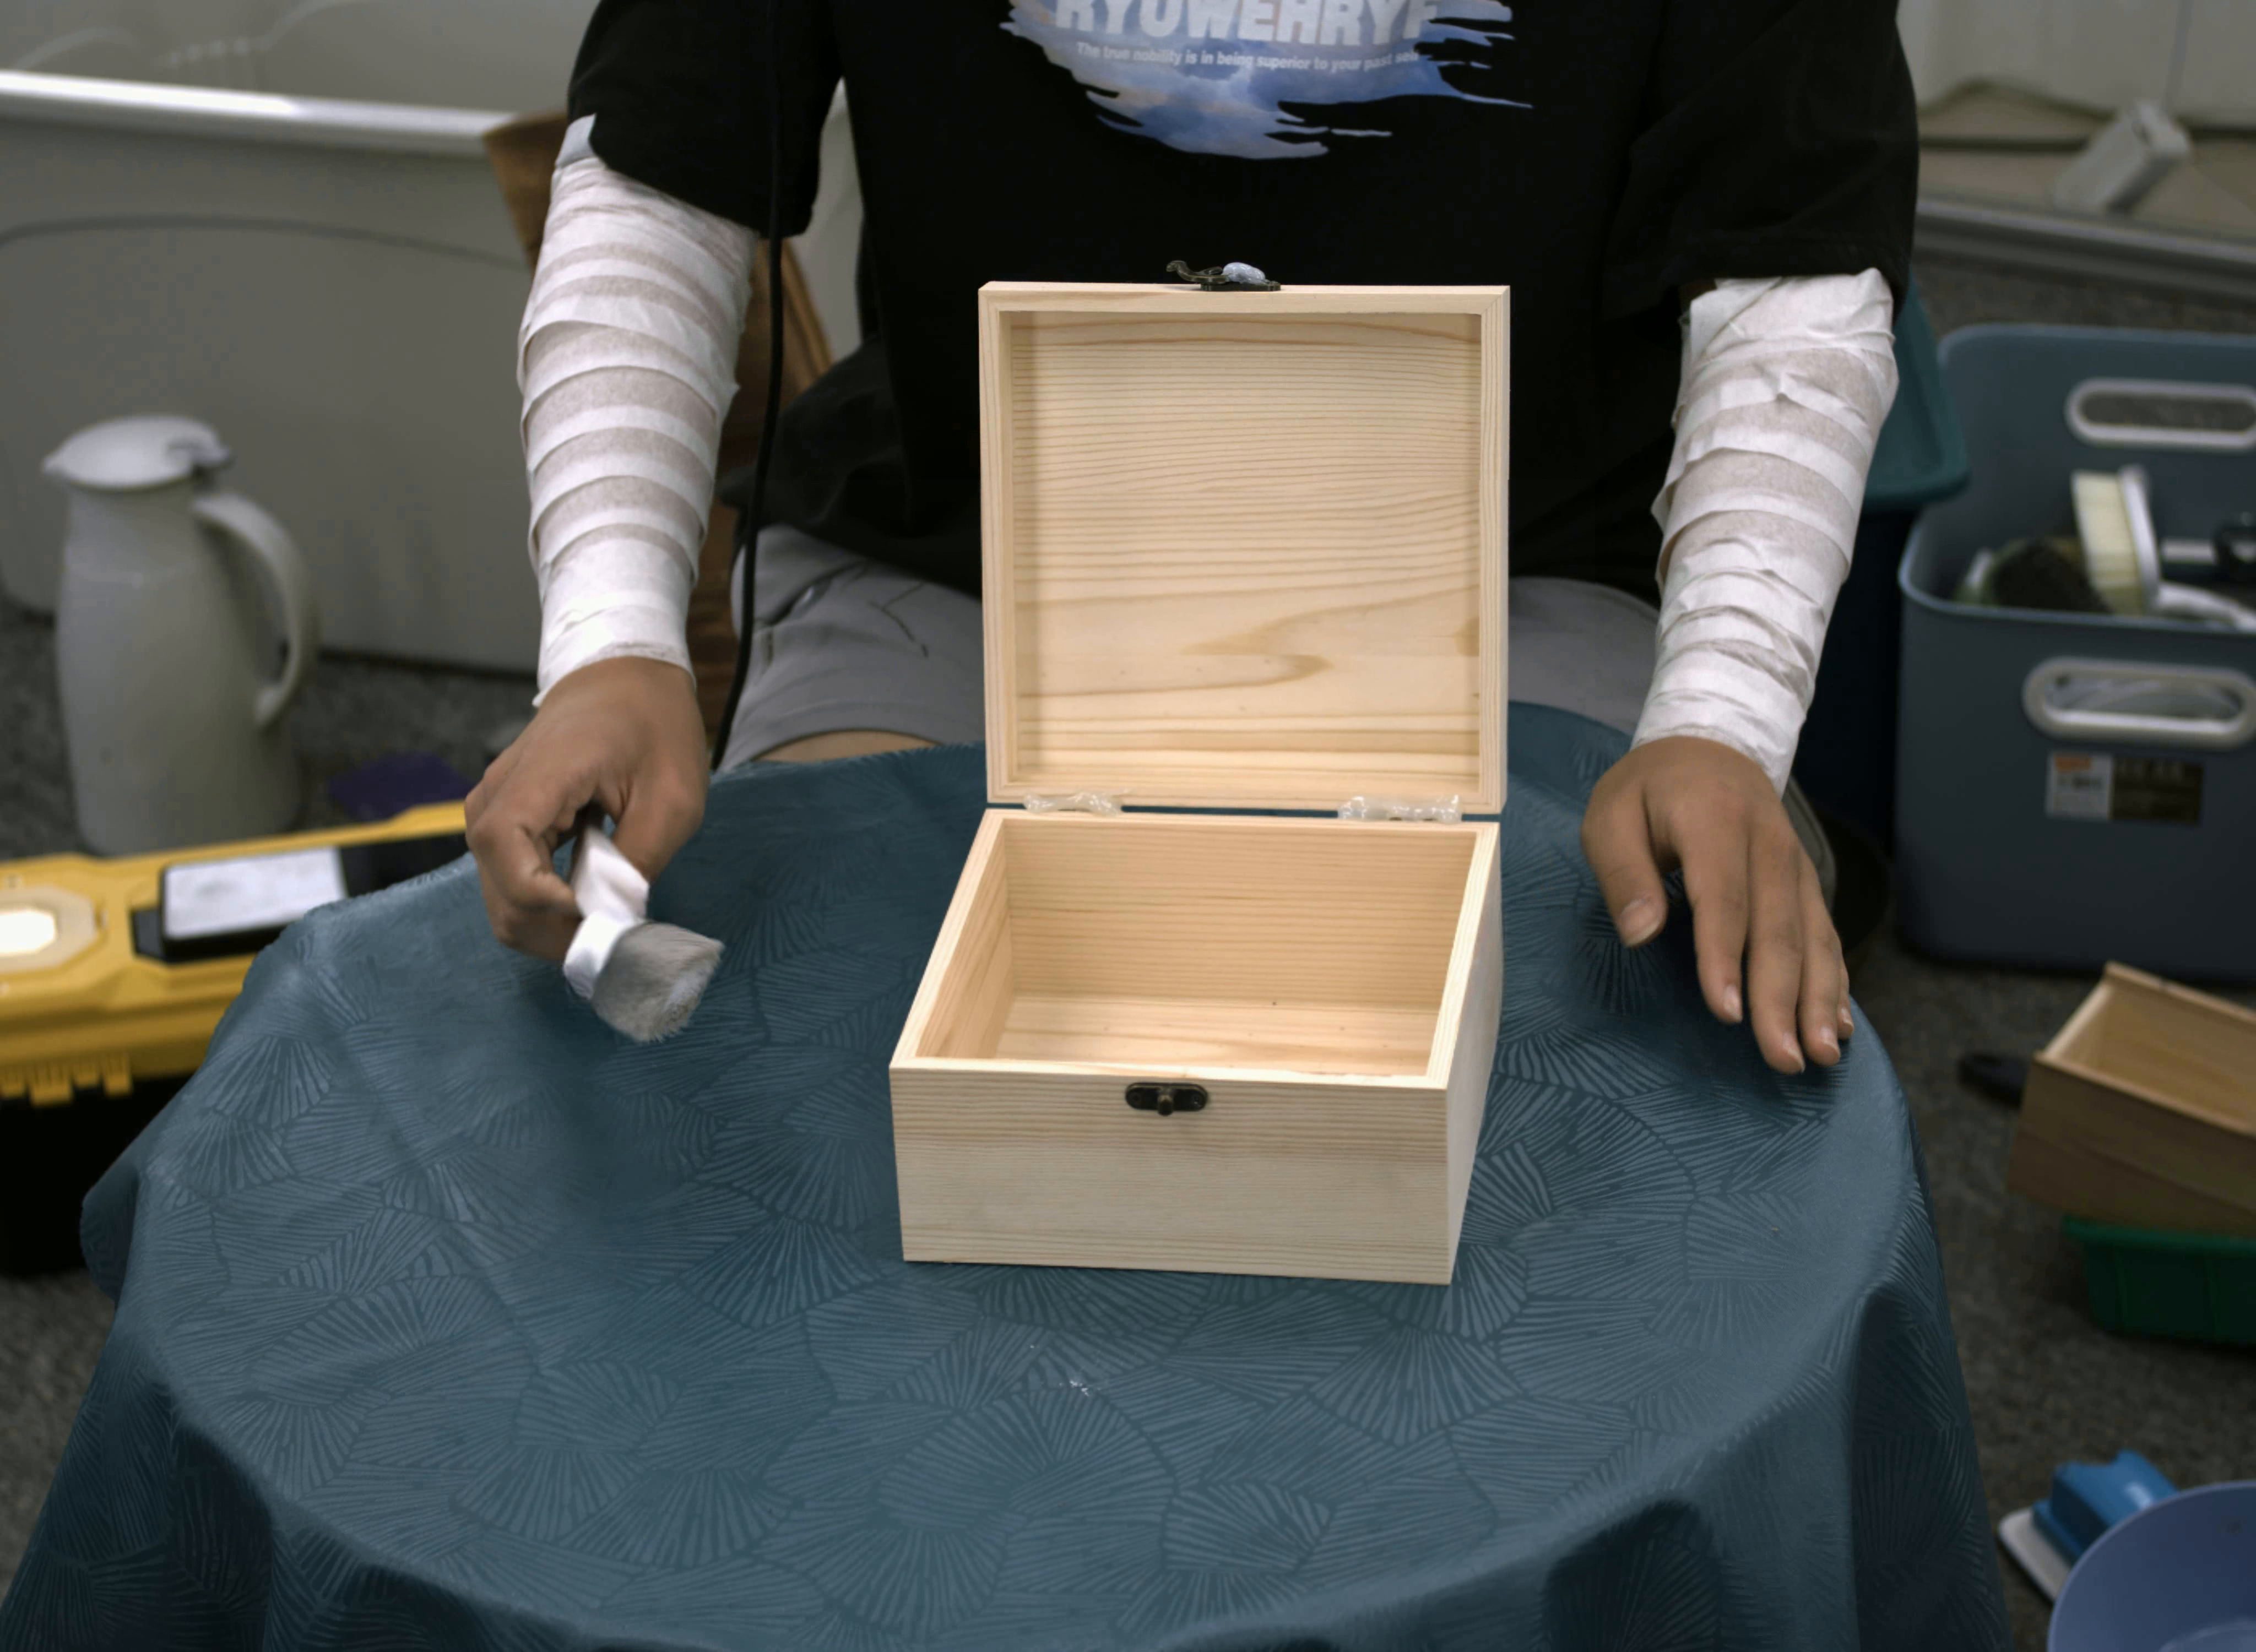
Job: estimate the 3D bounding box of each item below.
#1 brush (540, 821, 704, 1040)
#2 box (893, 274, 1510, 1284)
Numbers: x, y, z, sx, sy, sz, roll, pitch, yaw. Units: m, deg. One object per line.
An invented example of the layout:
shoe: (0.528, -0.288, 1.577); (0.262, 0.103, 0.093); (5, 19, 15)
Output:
brush: (-0.171, 0.034, 1.937); (0.050, 0.034, 0.245); (17, 8, -6)
box: (0.027, -0.022, 1.871); (0.180, 0.251, 0.269); (0, 26, 9)
